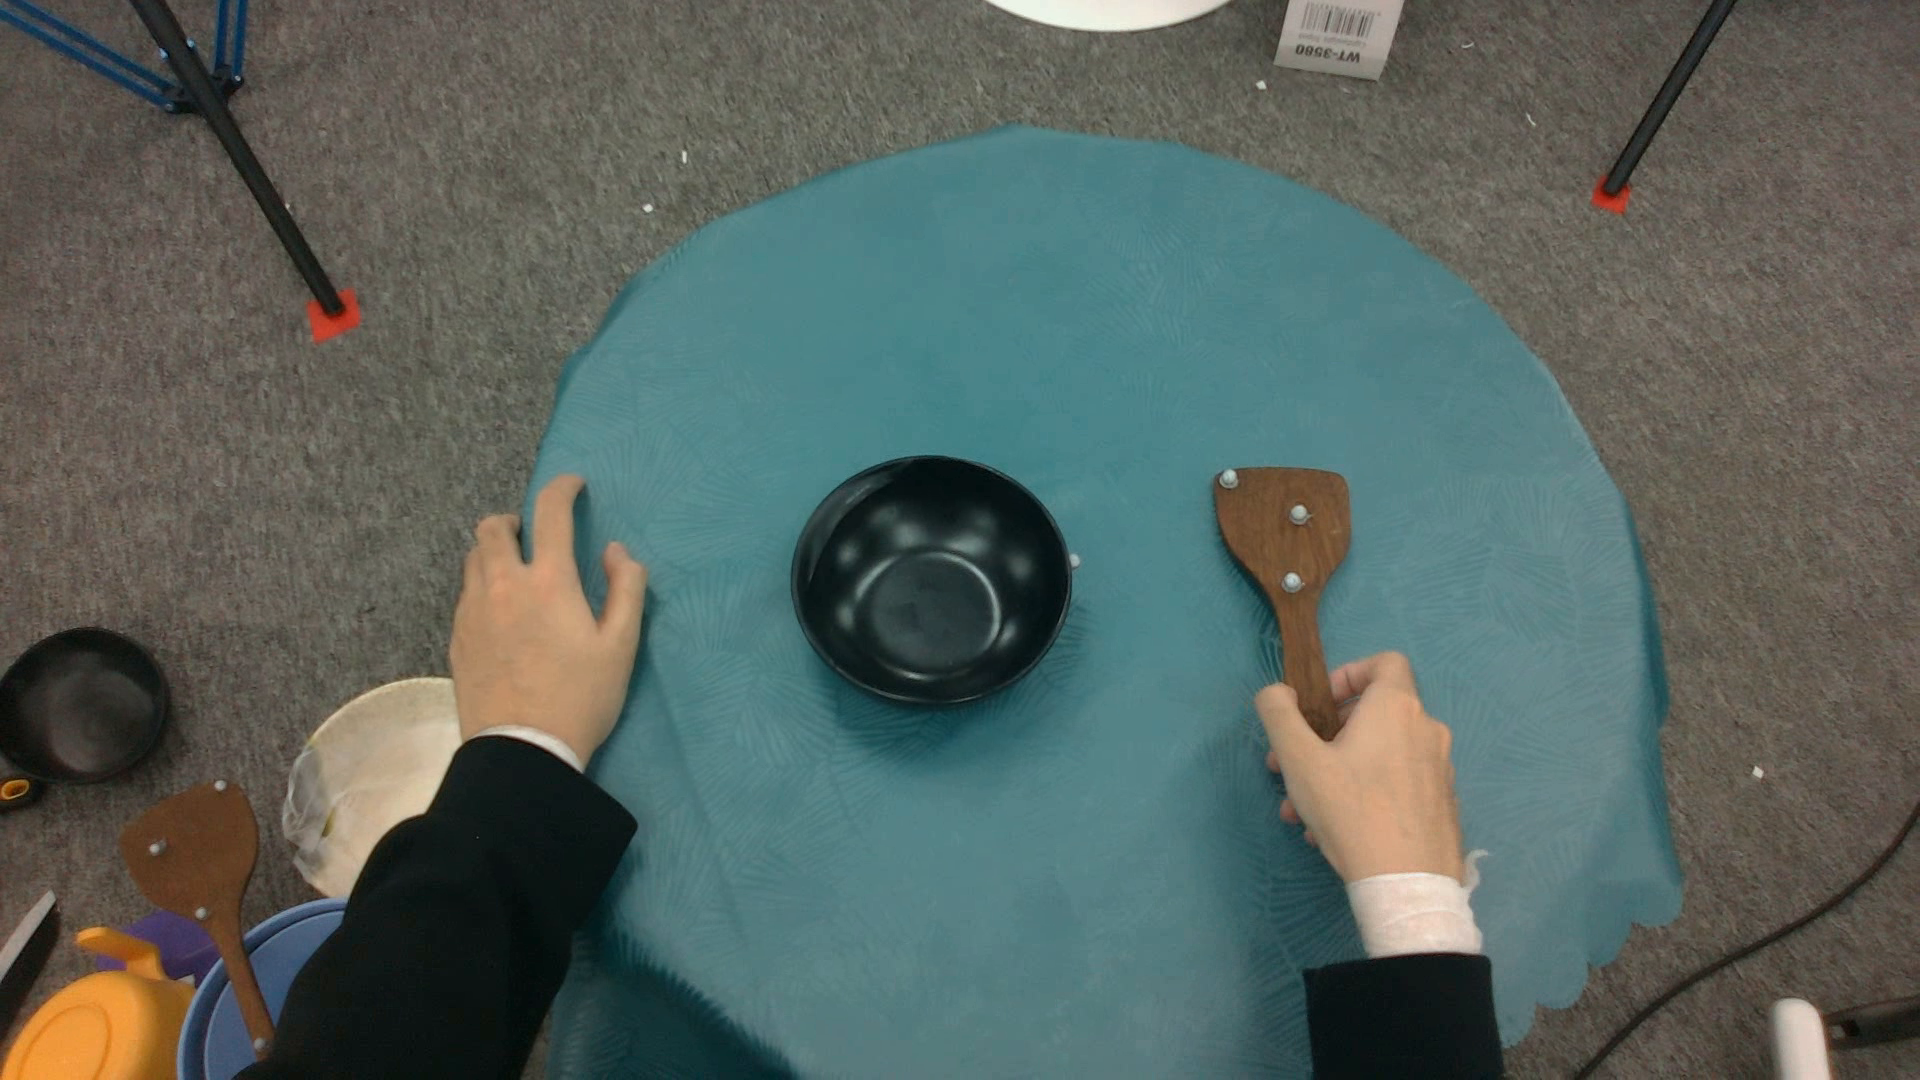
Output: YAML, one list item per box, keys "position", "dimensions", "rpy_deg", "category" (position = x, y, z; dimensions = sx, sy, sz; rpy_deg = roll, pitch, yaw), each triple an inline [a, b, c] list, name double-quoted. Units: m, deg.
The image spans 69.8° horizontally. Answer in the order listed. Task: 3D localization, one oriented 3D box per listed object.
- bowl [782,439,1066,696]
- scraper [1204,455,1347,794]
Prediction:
- position: [-0.019, 0.020, 0.691]
  dimensions: [0.140, 0.049, 0.140]
  rpy_deg: [2, 61, -4]
  category: "bowl"
- position: [0.167, 0.035, 0.694]
  dimensions: [0.076, 0.011, 0.212]
  rpy_deg: [2, 49, 2]
  category: "scraper"
